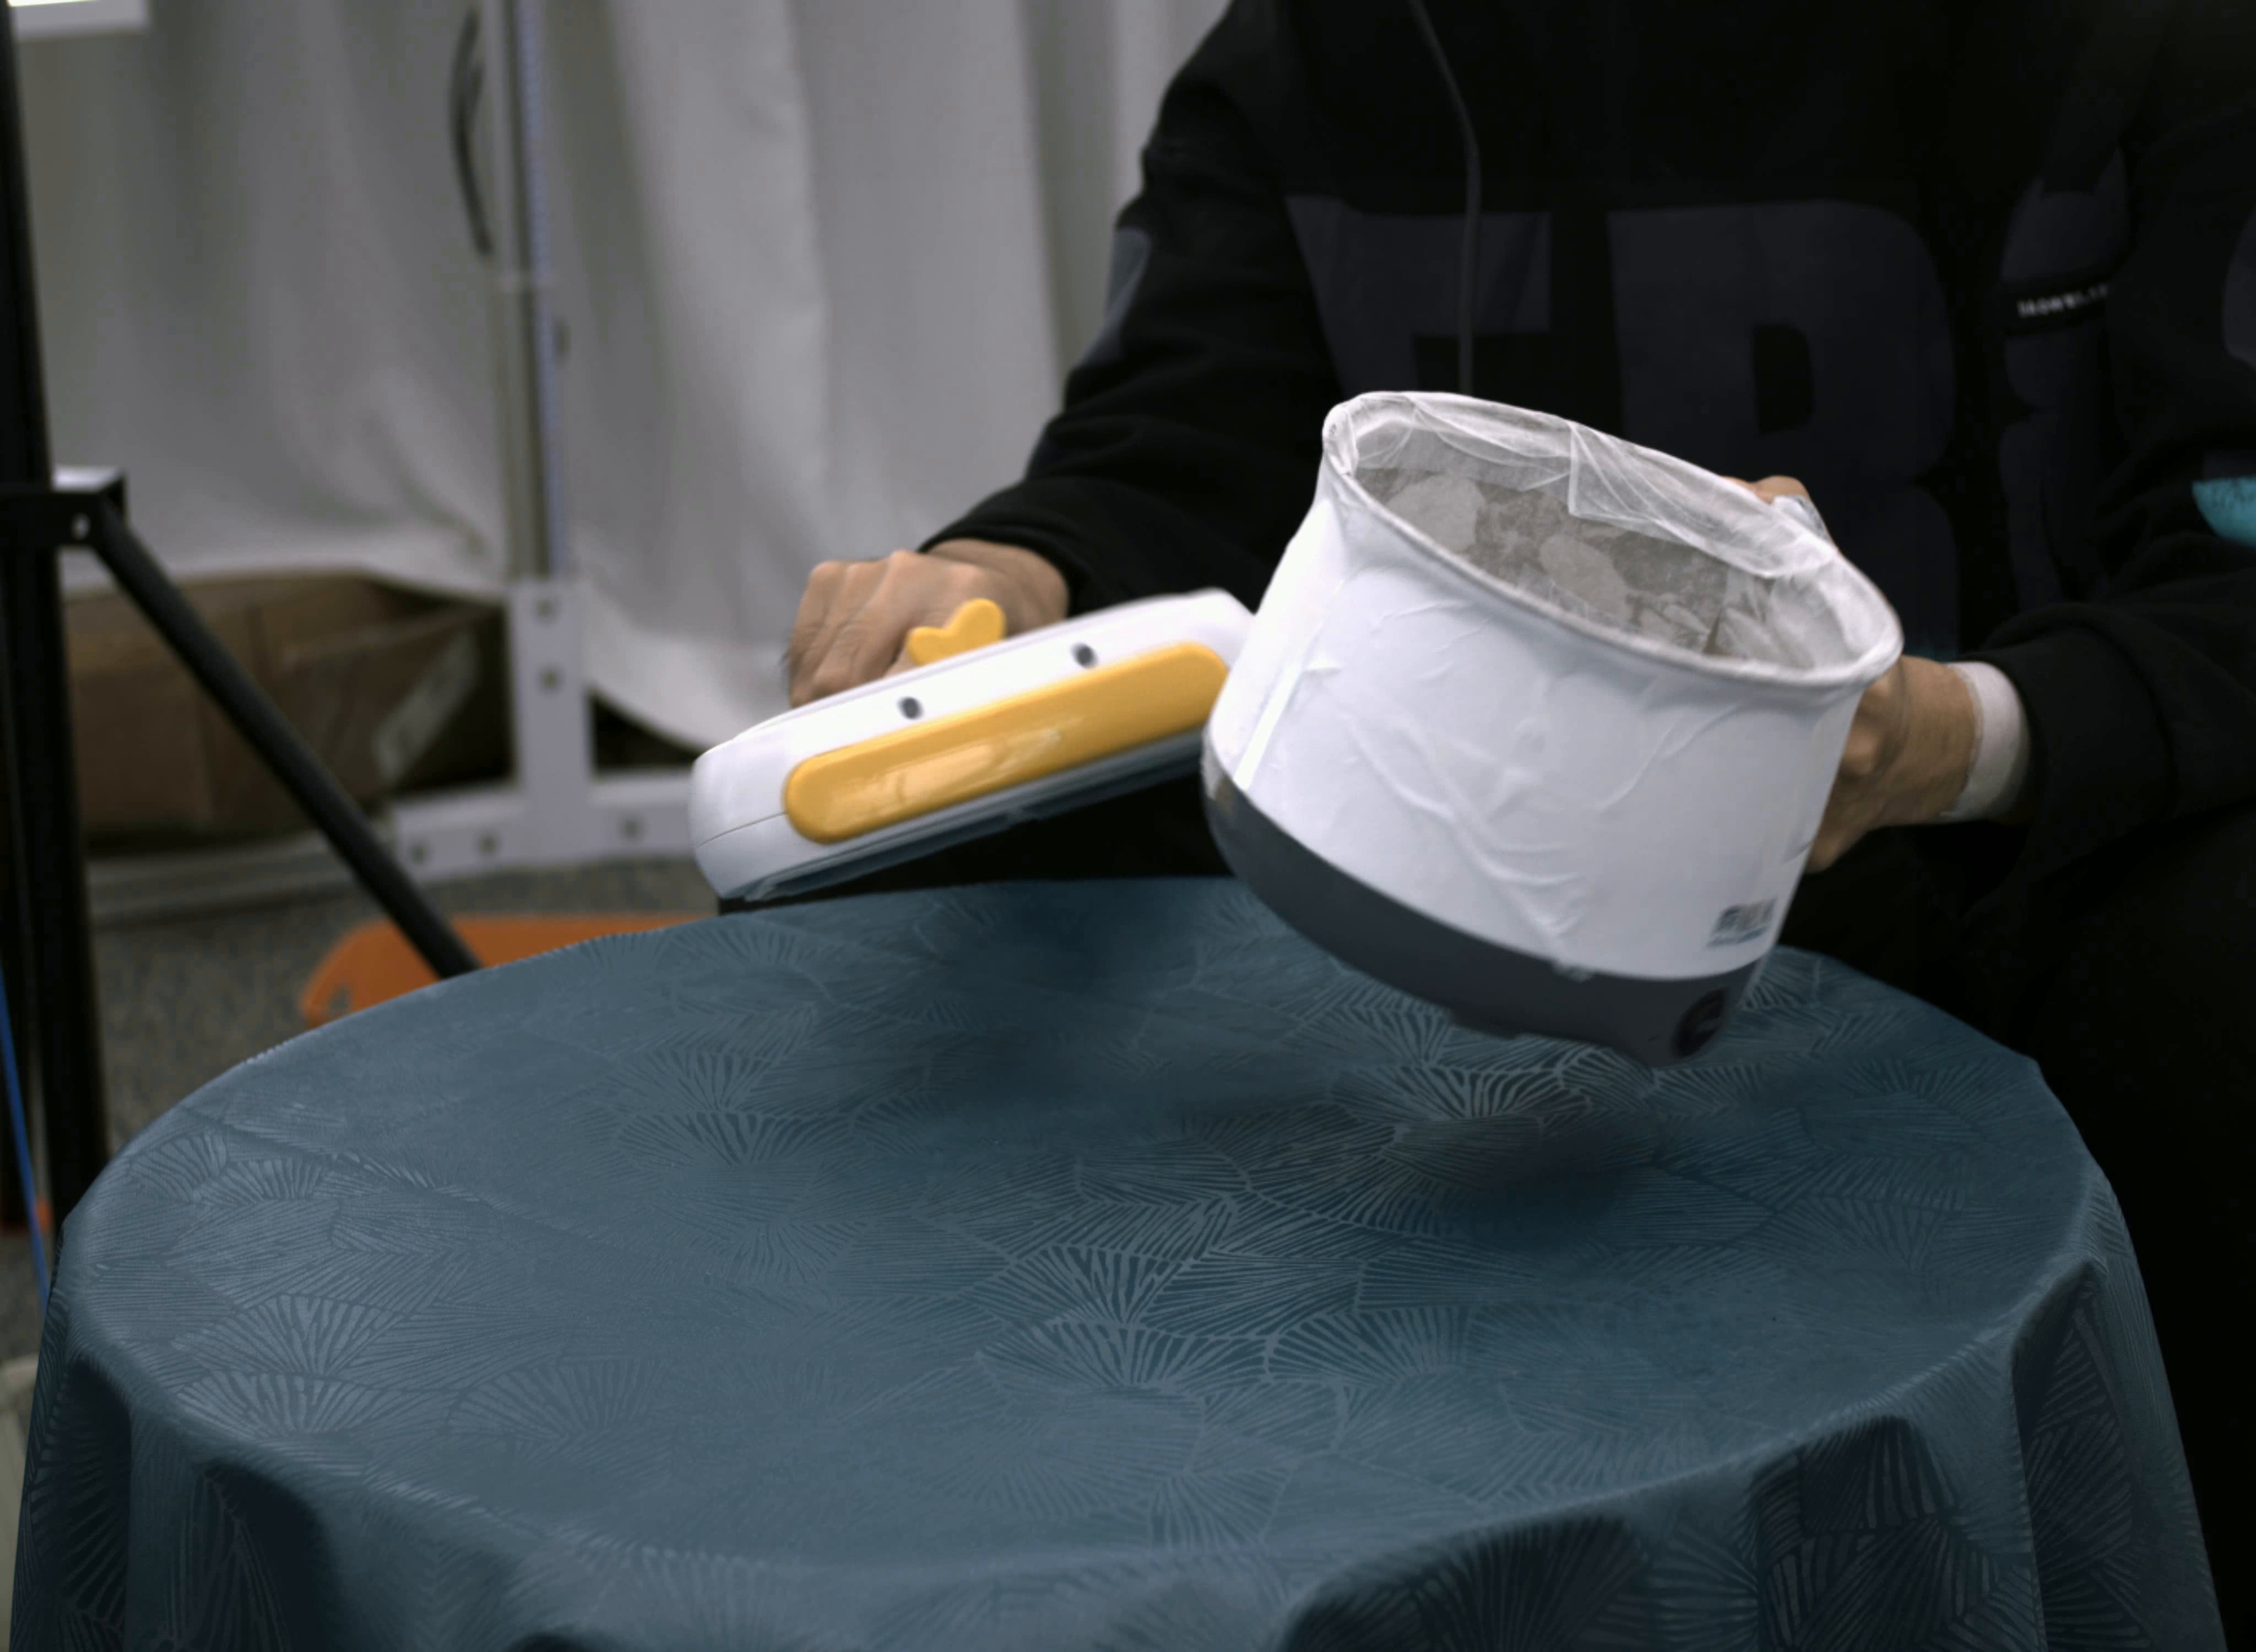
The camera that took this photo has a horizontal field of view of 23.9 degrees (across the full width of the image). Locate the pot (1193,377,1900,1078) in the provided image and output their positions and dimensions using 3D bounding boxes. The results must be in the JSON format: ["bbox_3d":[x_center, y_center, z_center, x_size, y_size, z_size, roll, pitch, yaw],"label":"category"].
[{"bbox_3d":[0.133,-0.032,1.553,0.182,0.137,0.228,38,29,29],"label":"pot"}]

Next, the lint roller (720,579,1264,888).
[{"bbox_3d":[-0.057,-0.035,1.714,0.190,0.074,0.195,-22,8,-17],"label":"lint roller"}]
